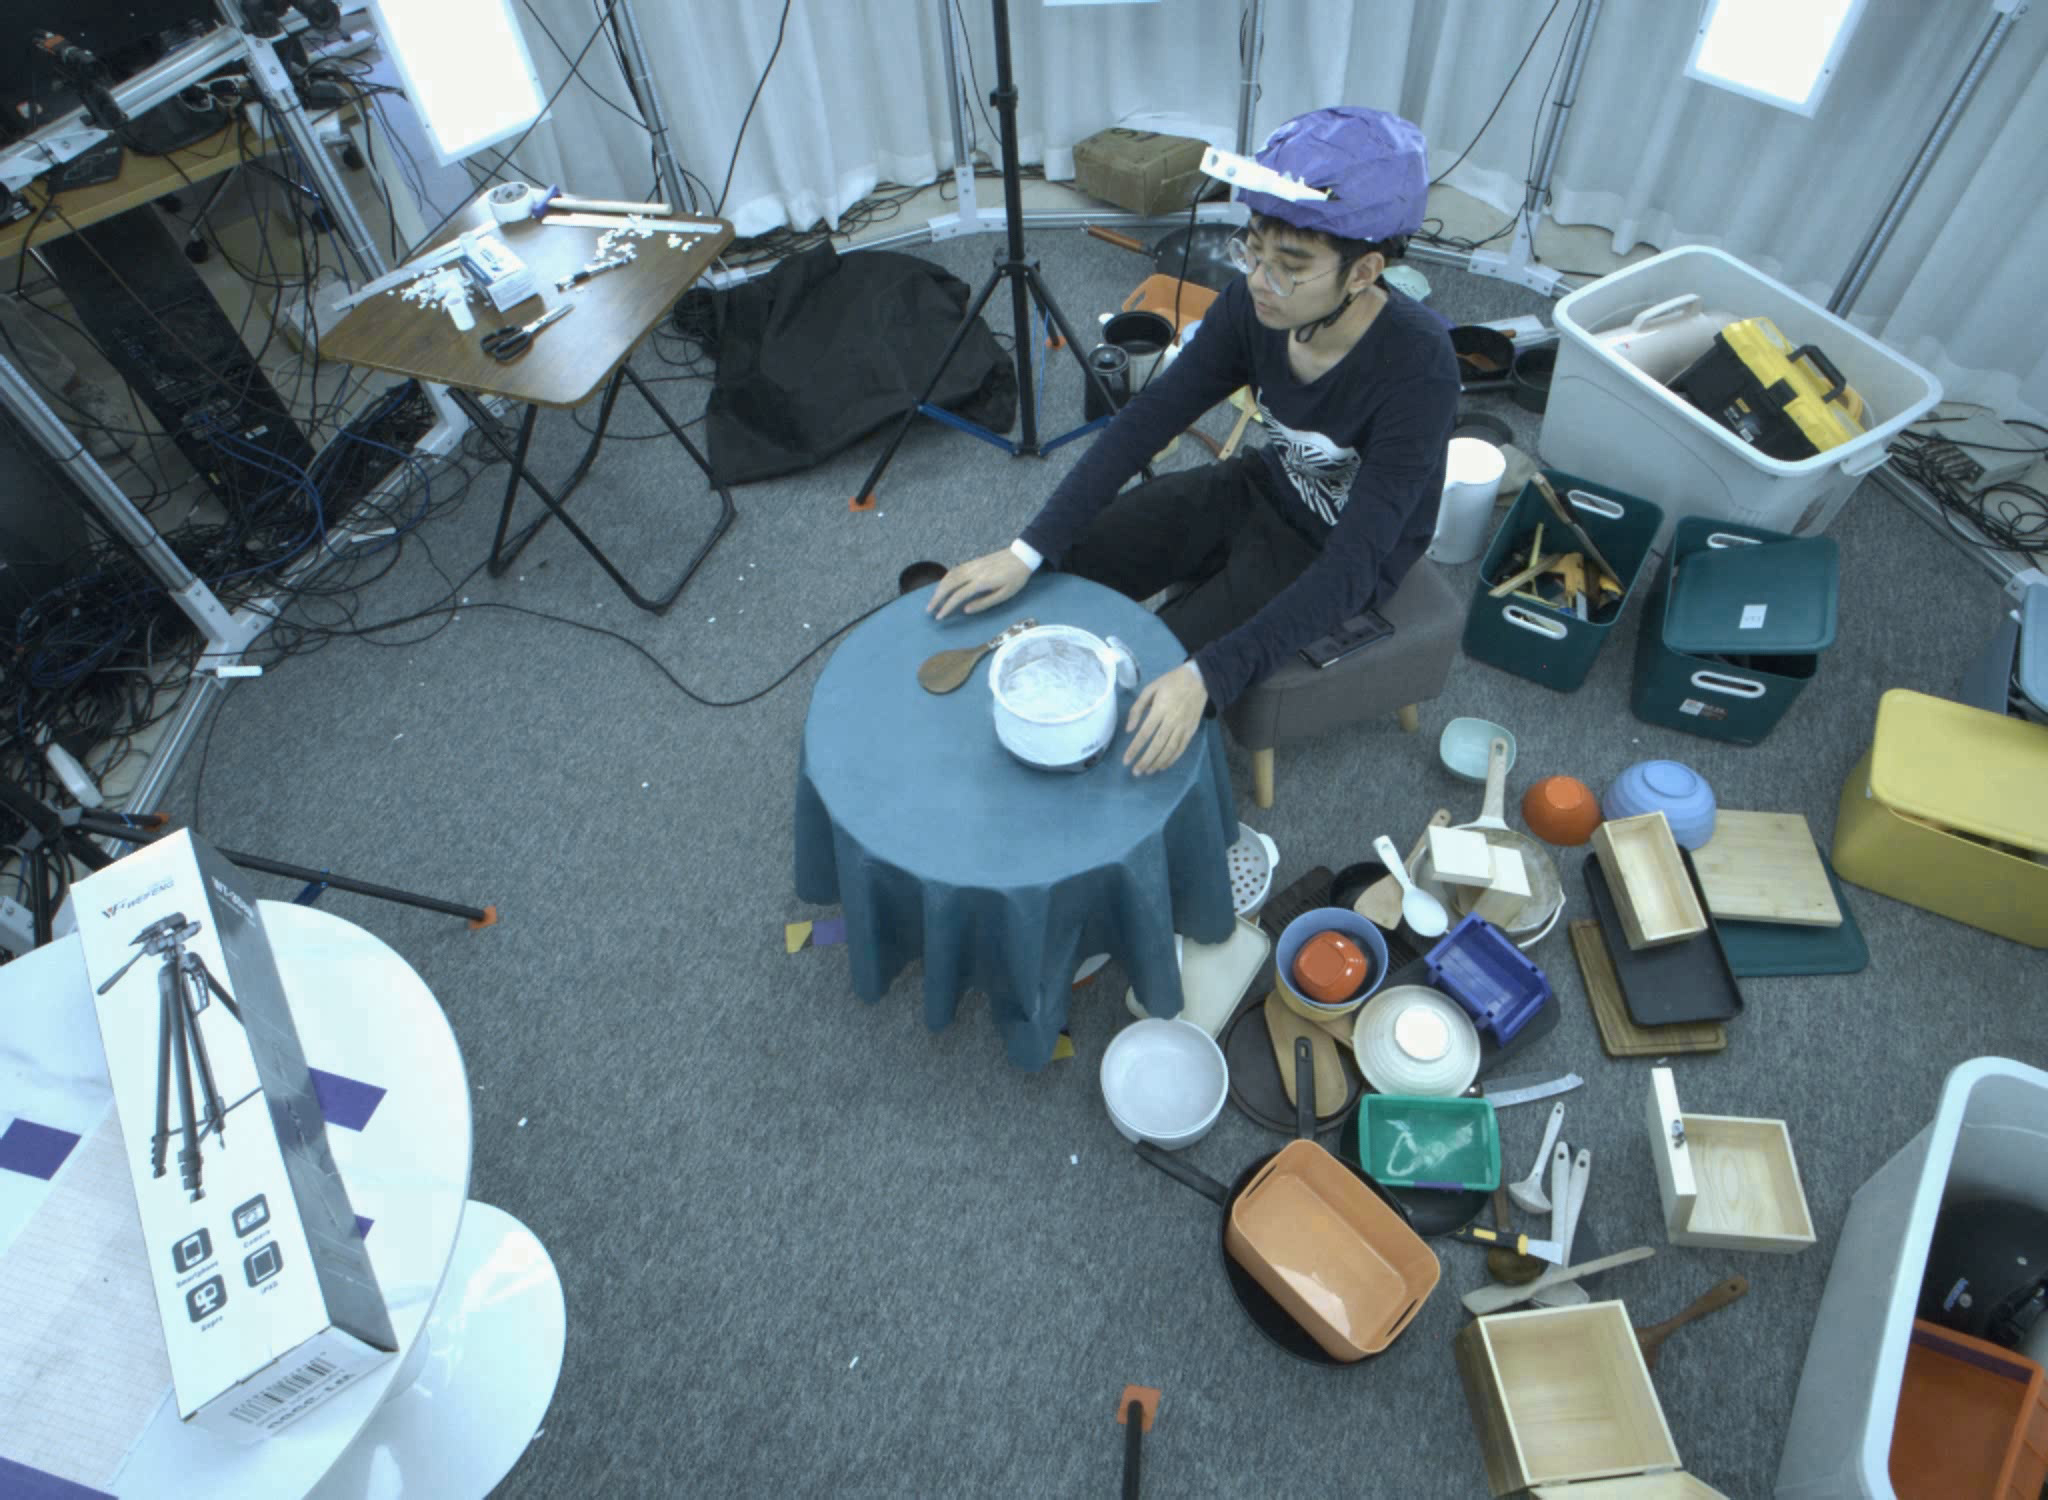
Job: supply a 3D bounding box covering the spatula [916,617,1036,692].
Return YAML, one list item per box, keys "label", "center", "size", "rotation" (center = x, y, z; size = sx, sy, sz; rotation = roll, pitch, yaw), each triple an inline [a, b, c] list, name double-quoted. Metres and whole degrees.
- label: "spatula"
  center: [-0.068, -0.152, 1.902]
  size: [0.217, 0.009, 0.070]
  rotation: [-31, 62, -20]

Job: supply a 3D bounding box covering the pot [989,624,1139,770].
- label: "pot"
  center: [0.066, -0.085, 1.767]
  size: [0.235, 0.138, 0.175]
  rotation: [-32, 62, -17]
